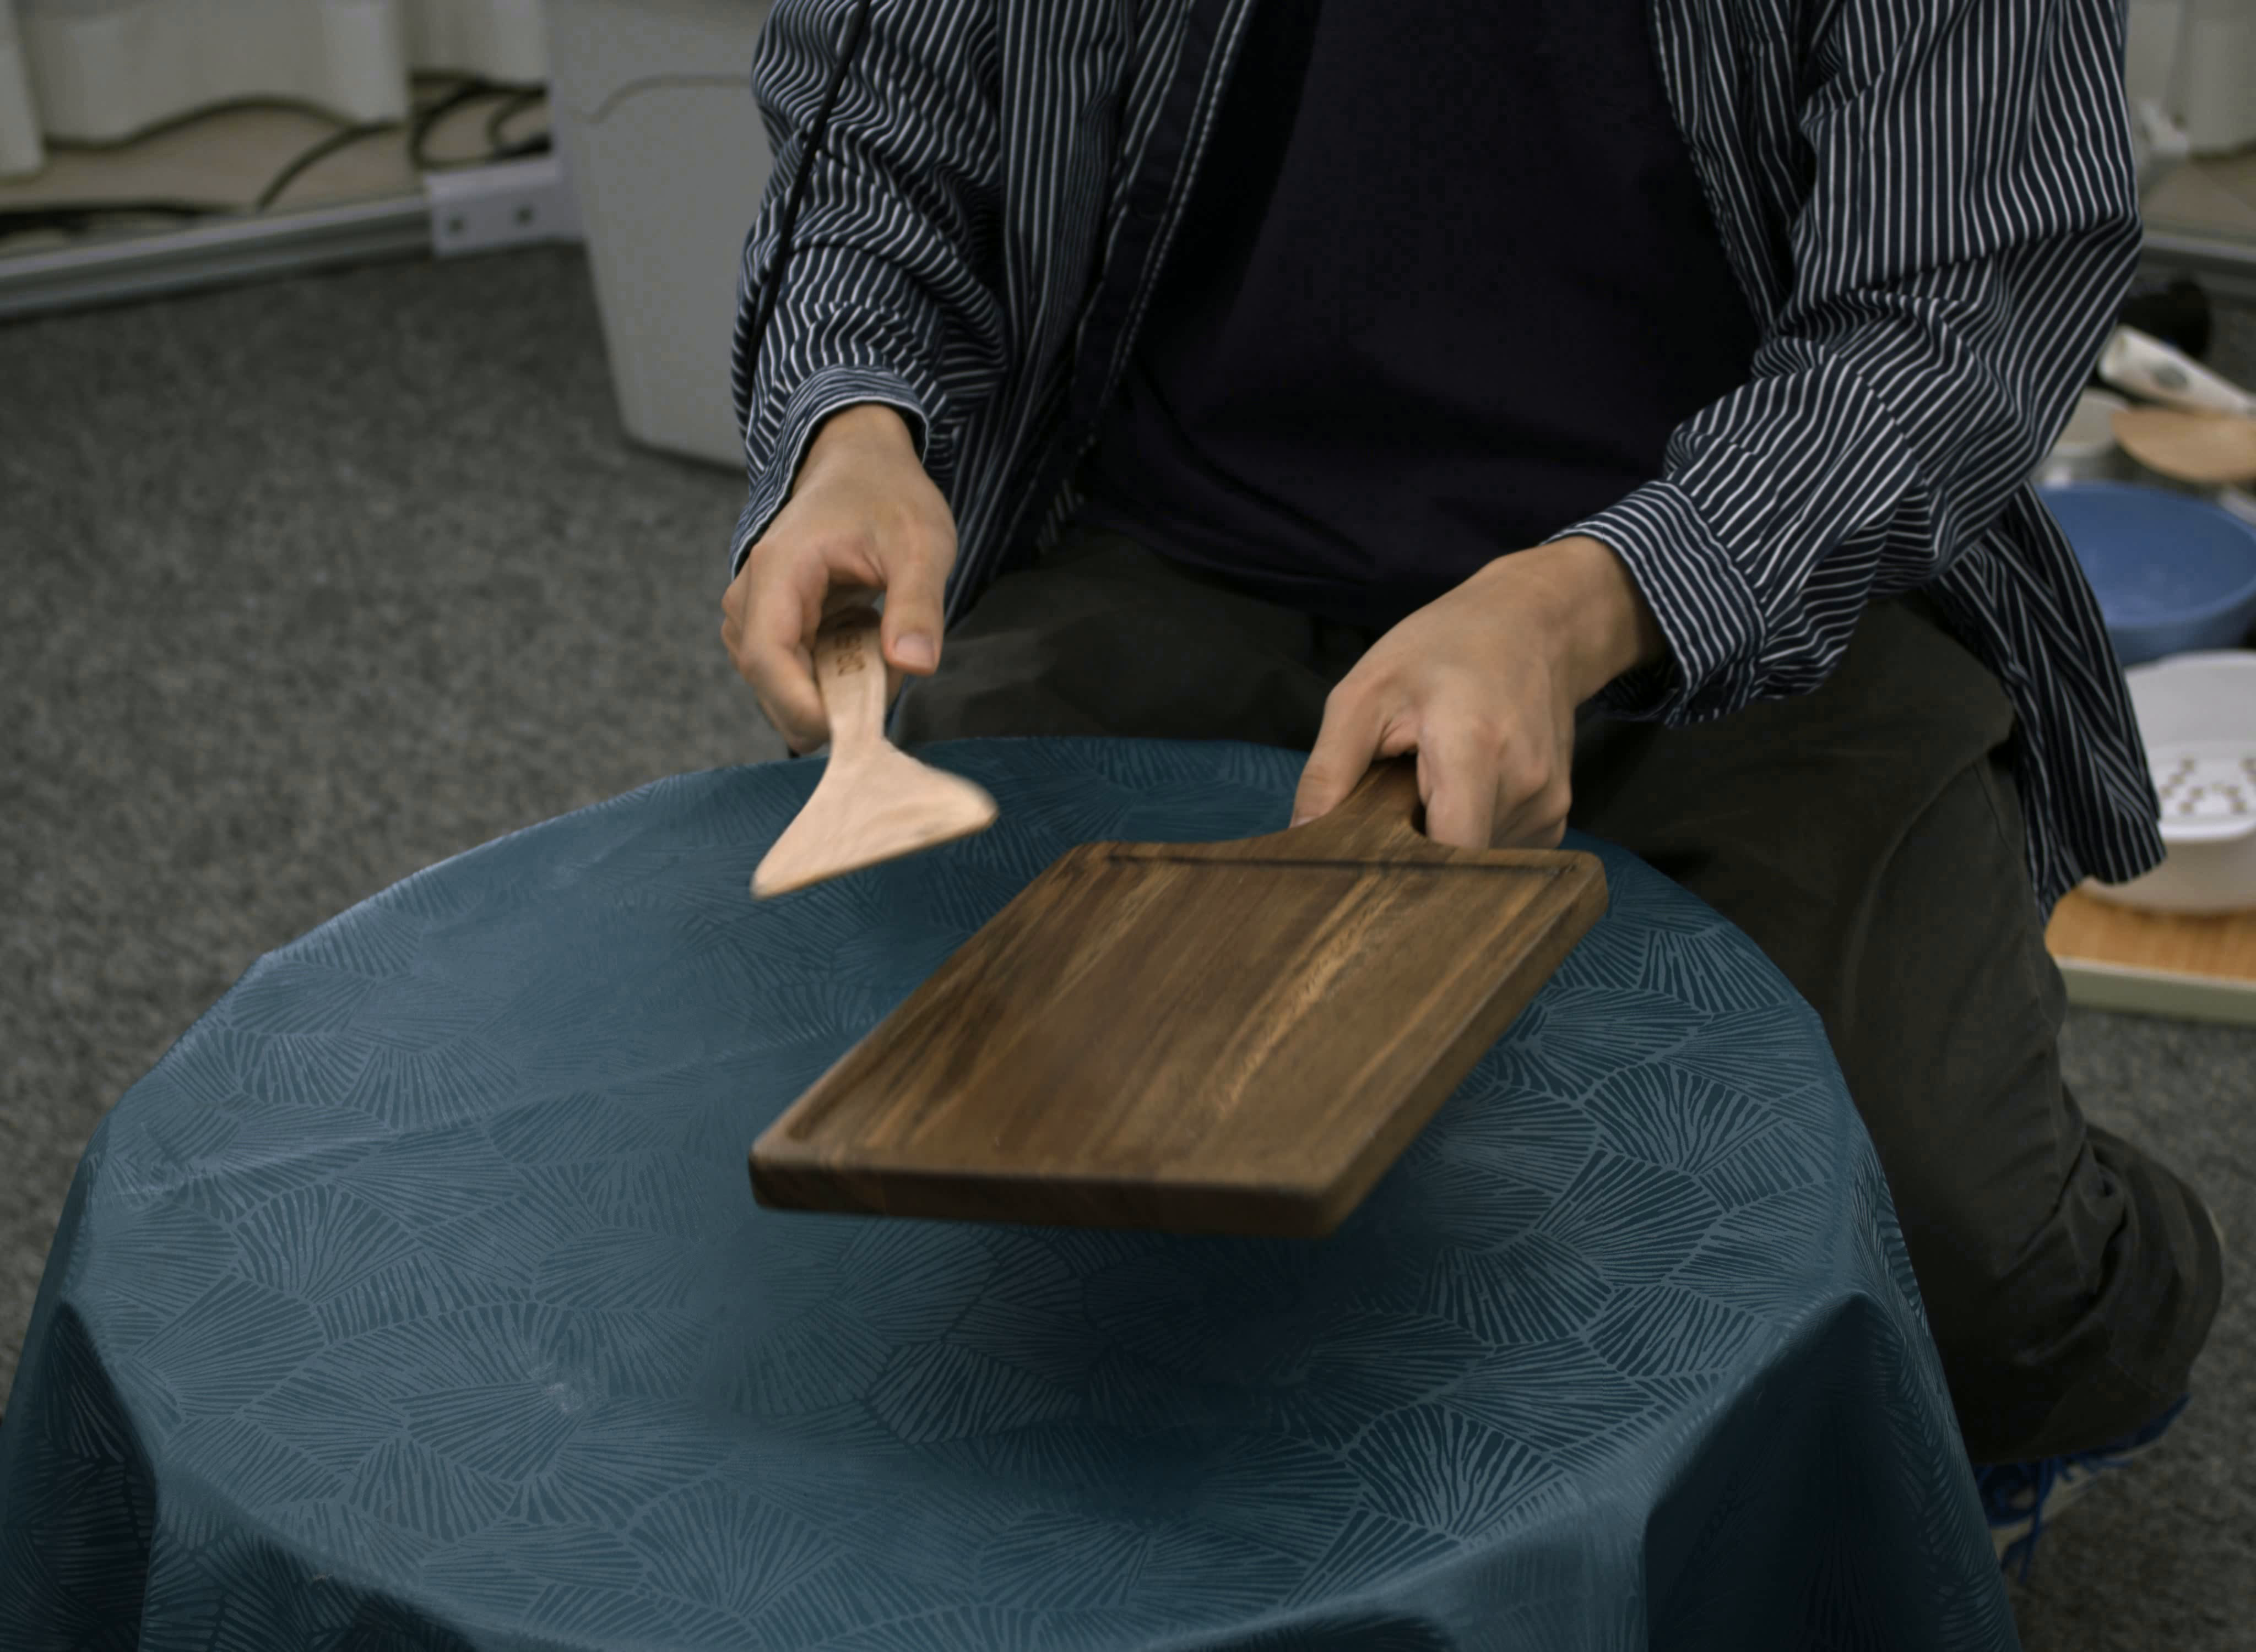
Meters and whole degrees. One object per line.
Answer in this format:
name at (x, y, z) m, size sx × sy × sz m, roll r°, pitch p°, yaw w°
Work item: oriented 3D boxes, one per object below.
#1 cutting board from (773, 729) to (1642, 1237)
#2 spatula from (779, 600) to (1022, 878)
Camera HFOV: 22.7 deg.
cutting board at (0.050, 0.043, 1.804) m, size 0.199 × 0.023 × 0.357 m, roll 1°, pitch 23°, yaw 26°
spatula at (-0.086, -0.036, 1.899) m, size 0.080 × 0.016 × 0.330 m, roll -16°, pitch 18°, yaw -2°
